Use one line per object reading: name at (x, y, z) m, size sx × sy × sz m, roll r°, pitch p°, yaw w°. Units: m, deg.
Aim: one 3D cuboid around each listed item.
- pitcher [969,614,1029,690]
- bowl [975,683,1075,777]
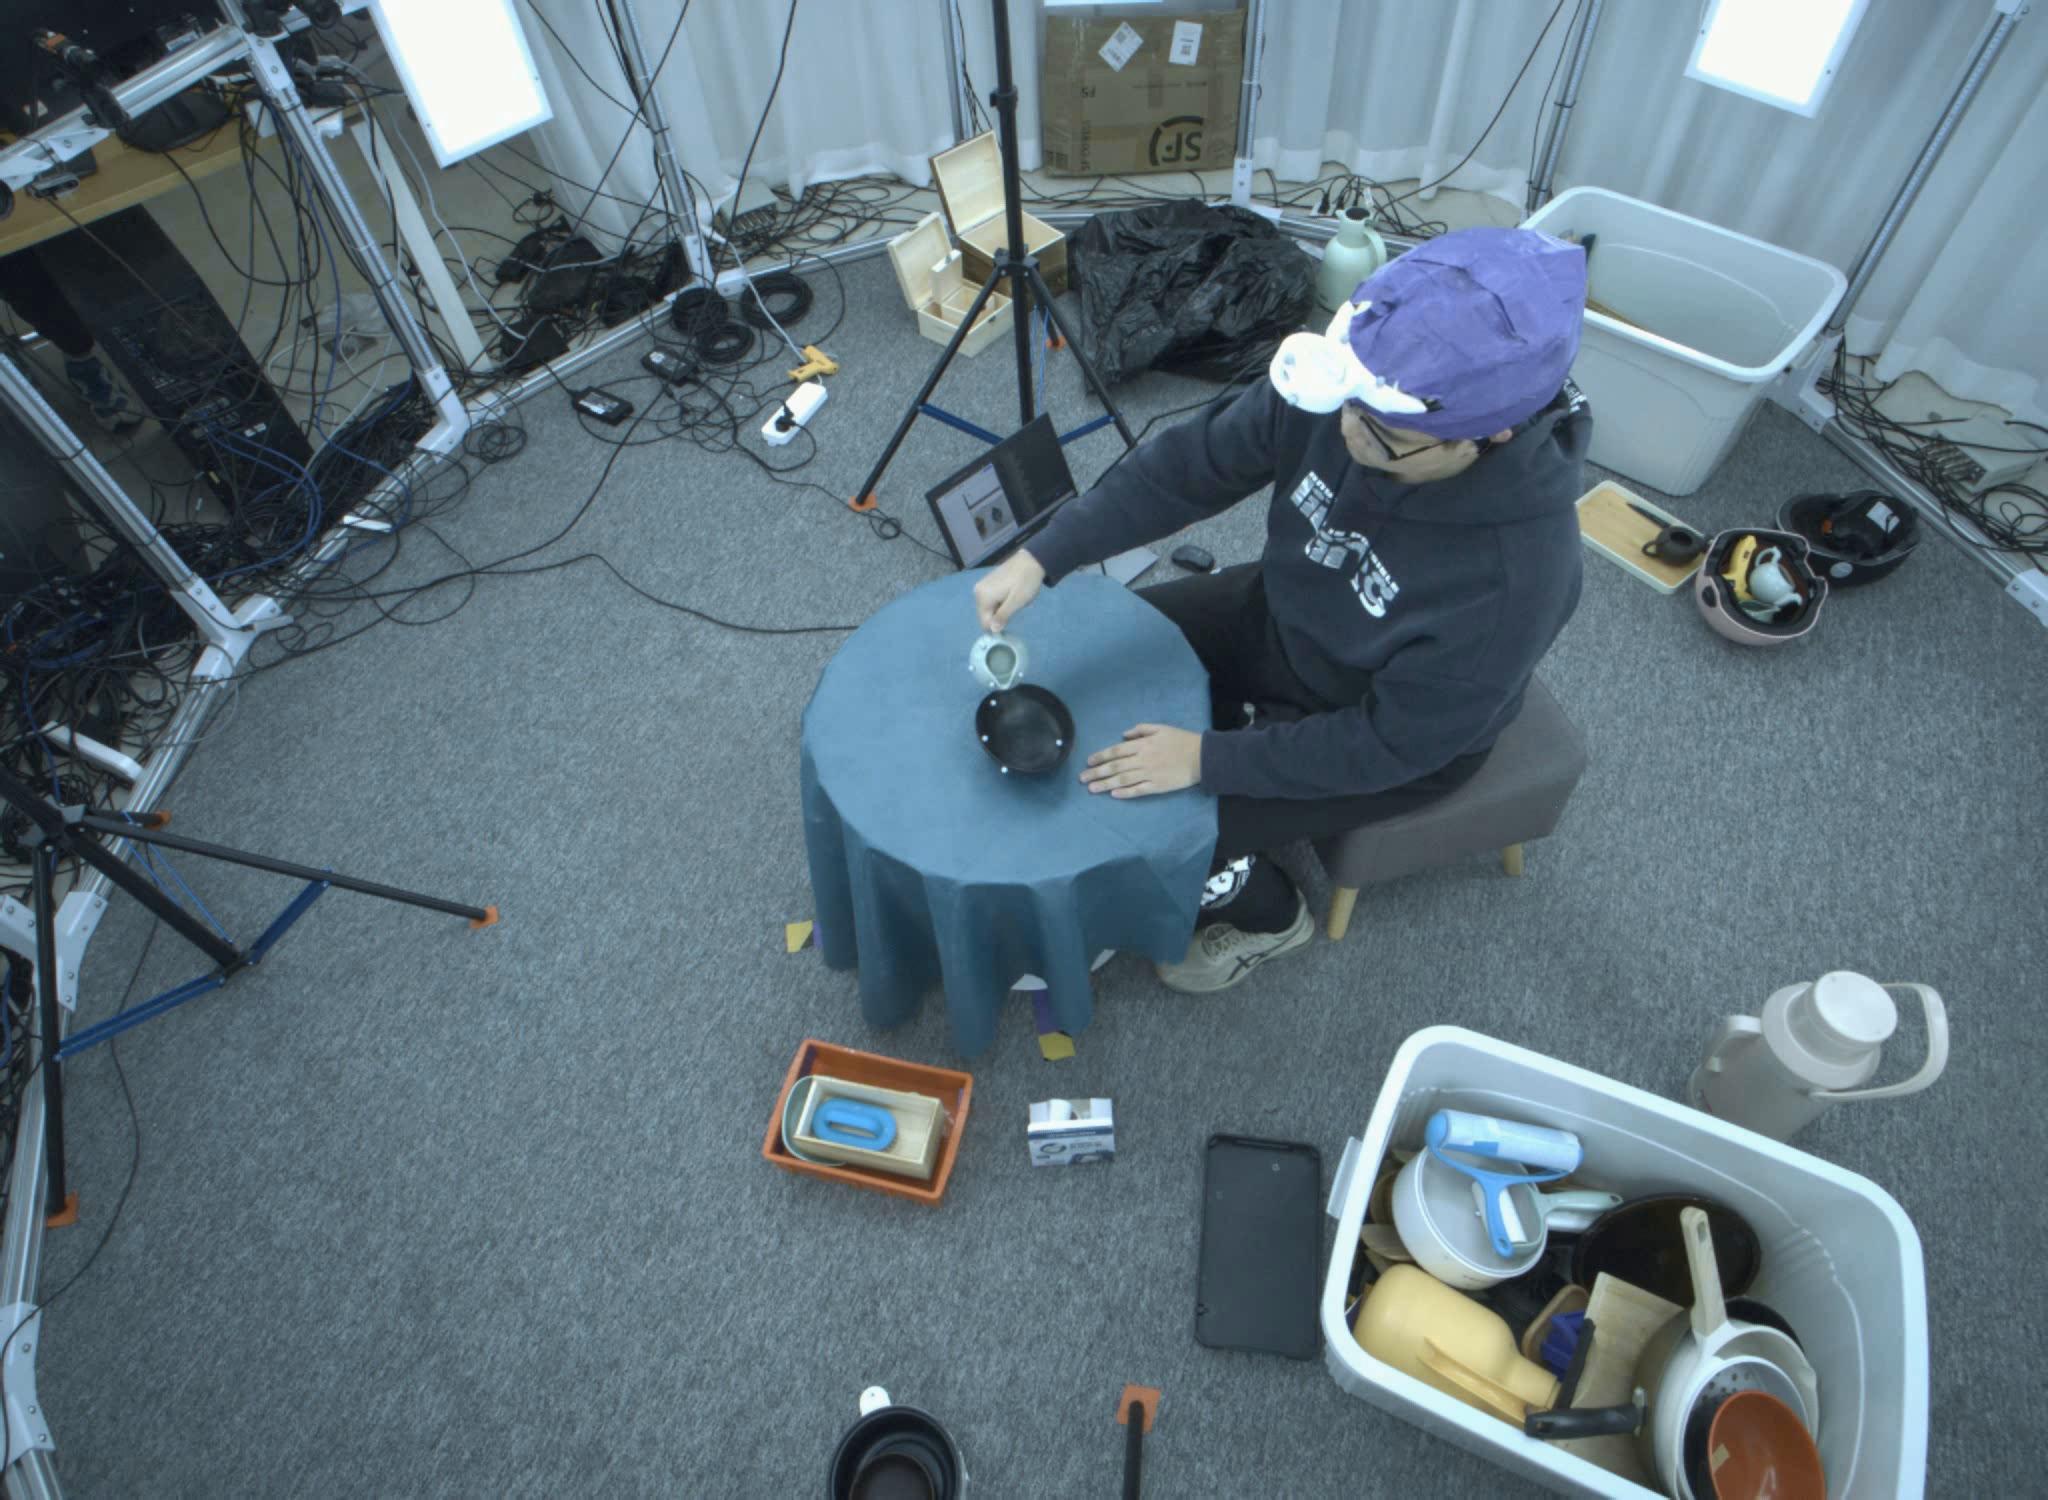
pitcher at (-0.037, -0.139, 1.740) m, size 0.086 × 0.060 × 0.108 m, roll -10°, pitch 93°, yaw -5°
bowl at (0.000, -0.020, 1.764) m, size 0.138 × 0.067 × 0.167 m, roll -21°, pitch 56°, yaw -13°
